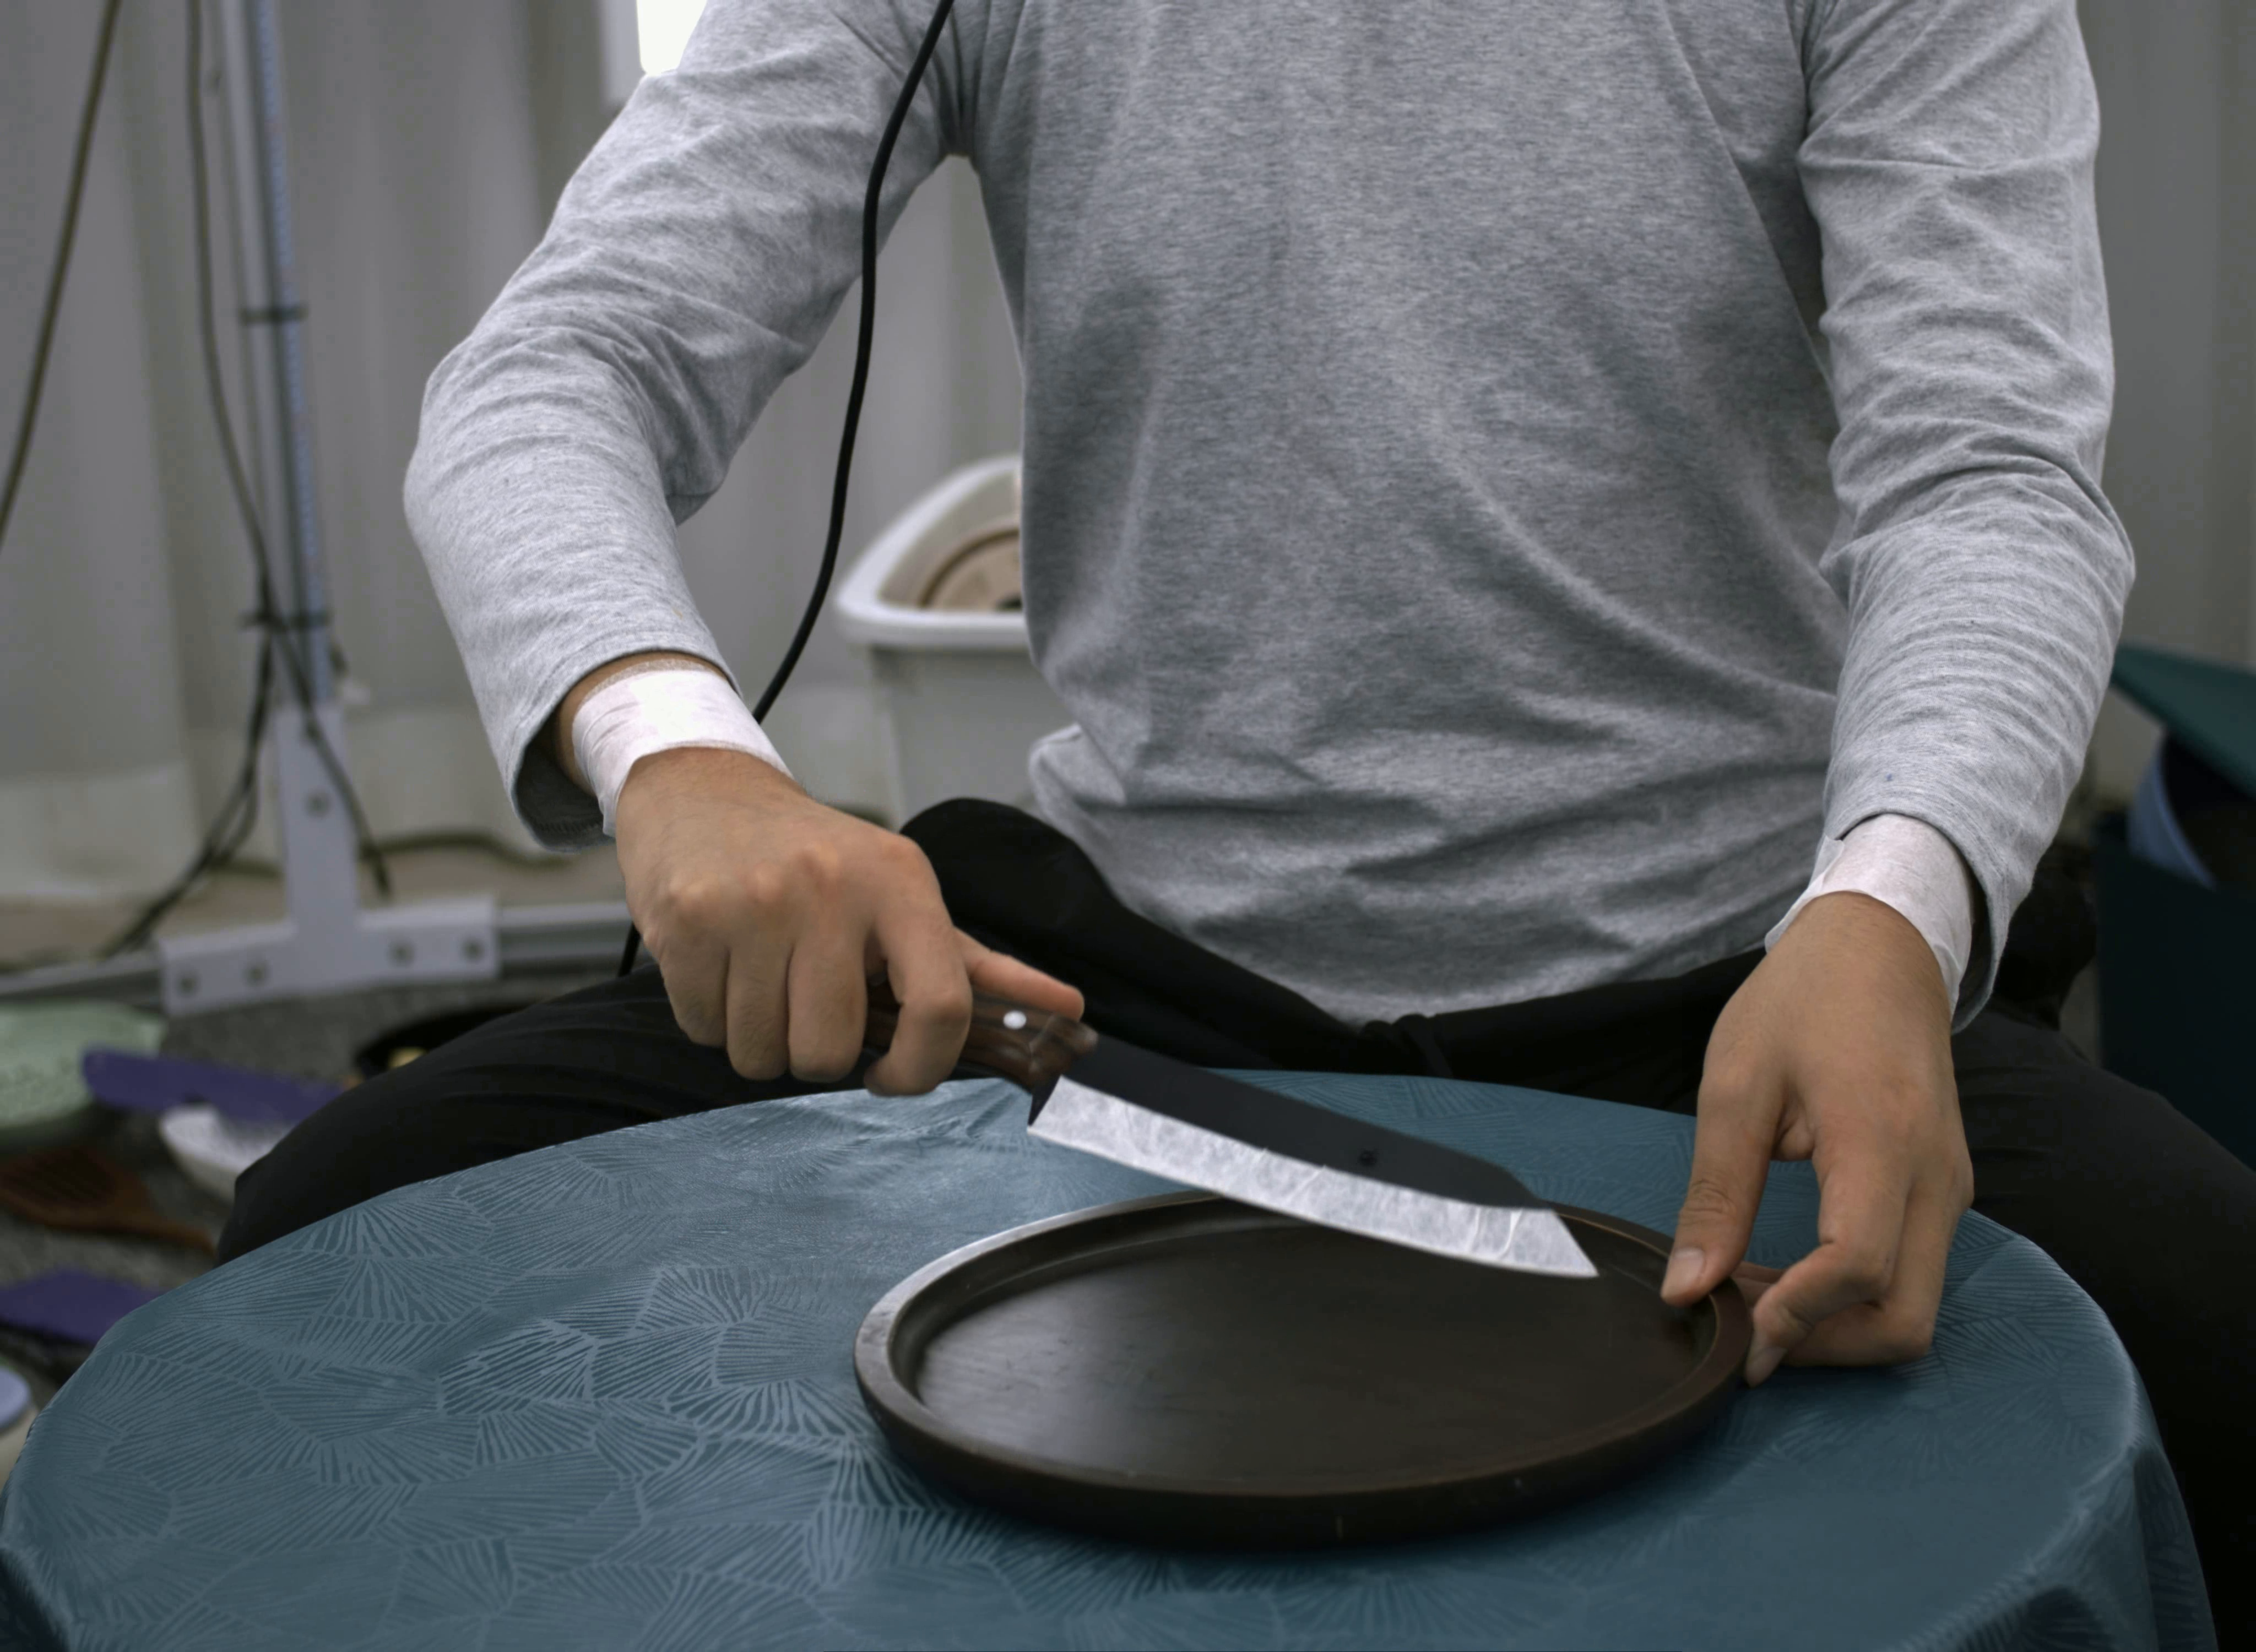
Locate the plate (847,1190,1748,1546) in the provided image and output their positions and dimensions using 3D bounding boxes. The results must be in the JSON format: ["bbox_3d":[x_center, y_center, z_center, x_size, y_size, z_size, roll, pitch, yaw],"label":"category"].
[{"bbox_3d":[0.048,0.149,1.533,0.254,0.029,0.256,-4,13,1],"label":"plate"}]

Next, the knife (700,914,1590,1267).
[{"bbox_3d":[0.001,0.078,1.595,0.290,0.020,0.051,19,48,18],"label":"knife"}]
